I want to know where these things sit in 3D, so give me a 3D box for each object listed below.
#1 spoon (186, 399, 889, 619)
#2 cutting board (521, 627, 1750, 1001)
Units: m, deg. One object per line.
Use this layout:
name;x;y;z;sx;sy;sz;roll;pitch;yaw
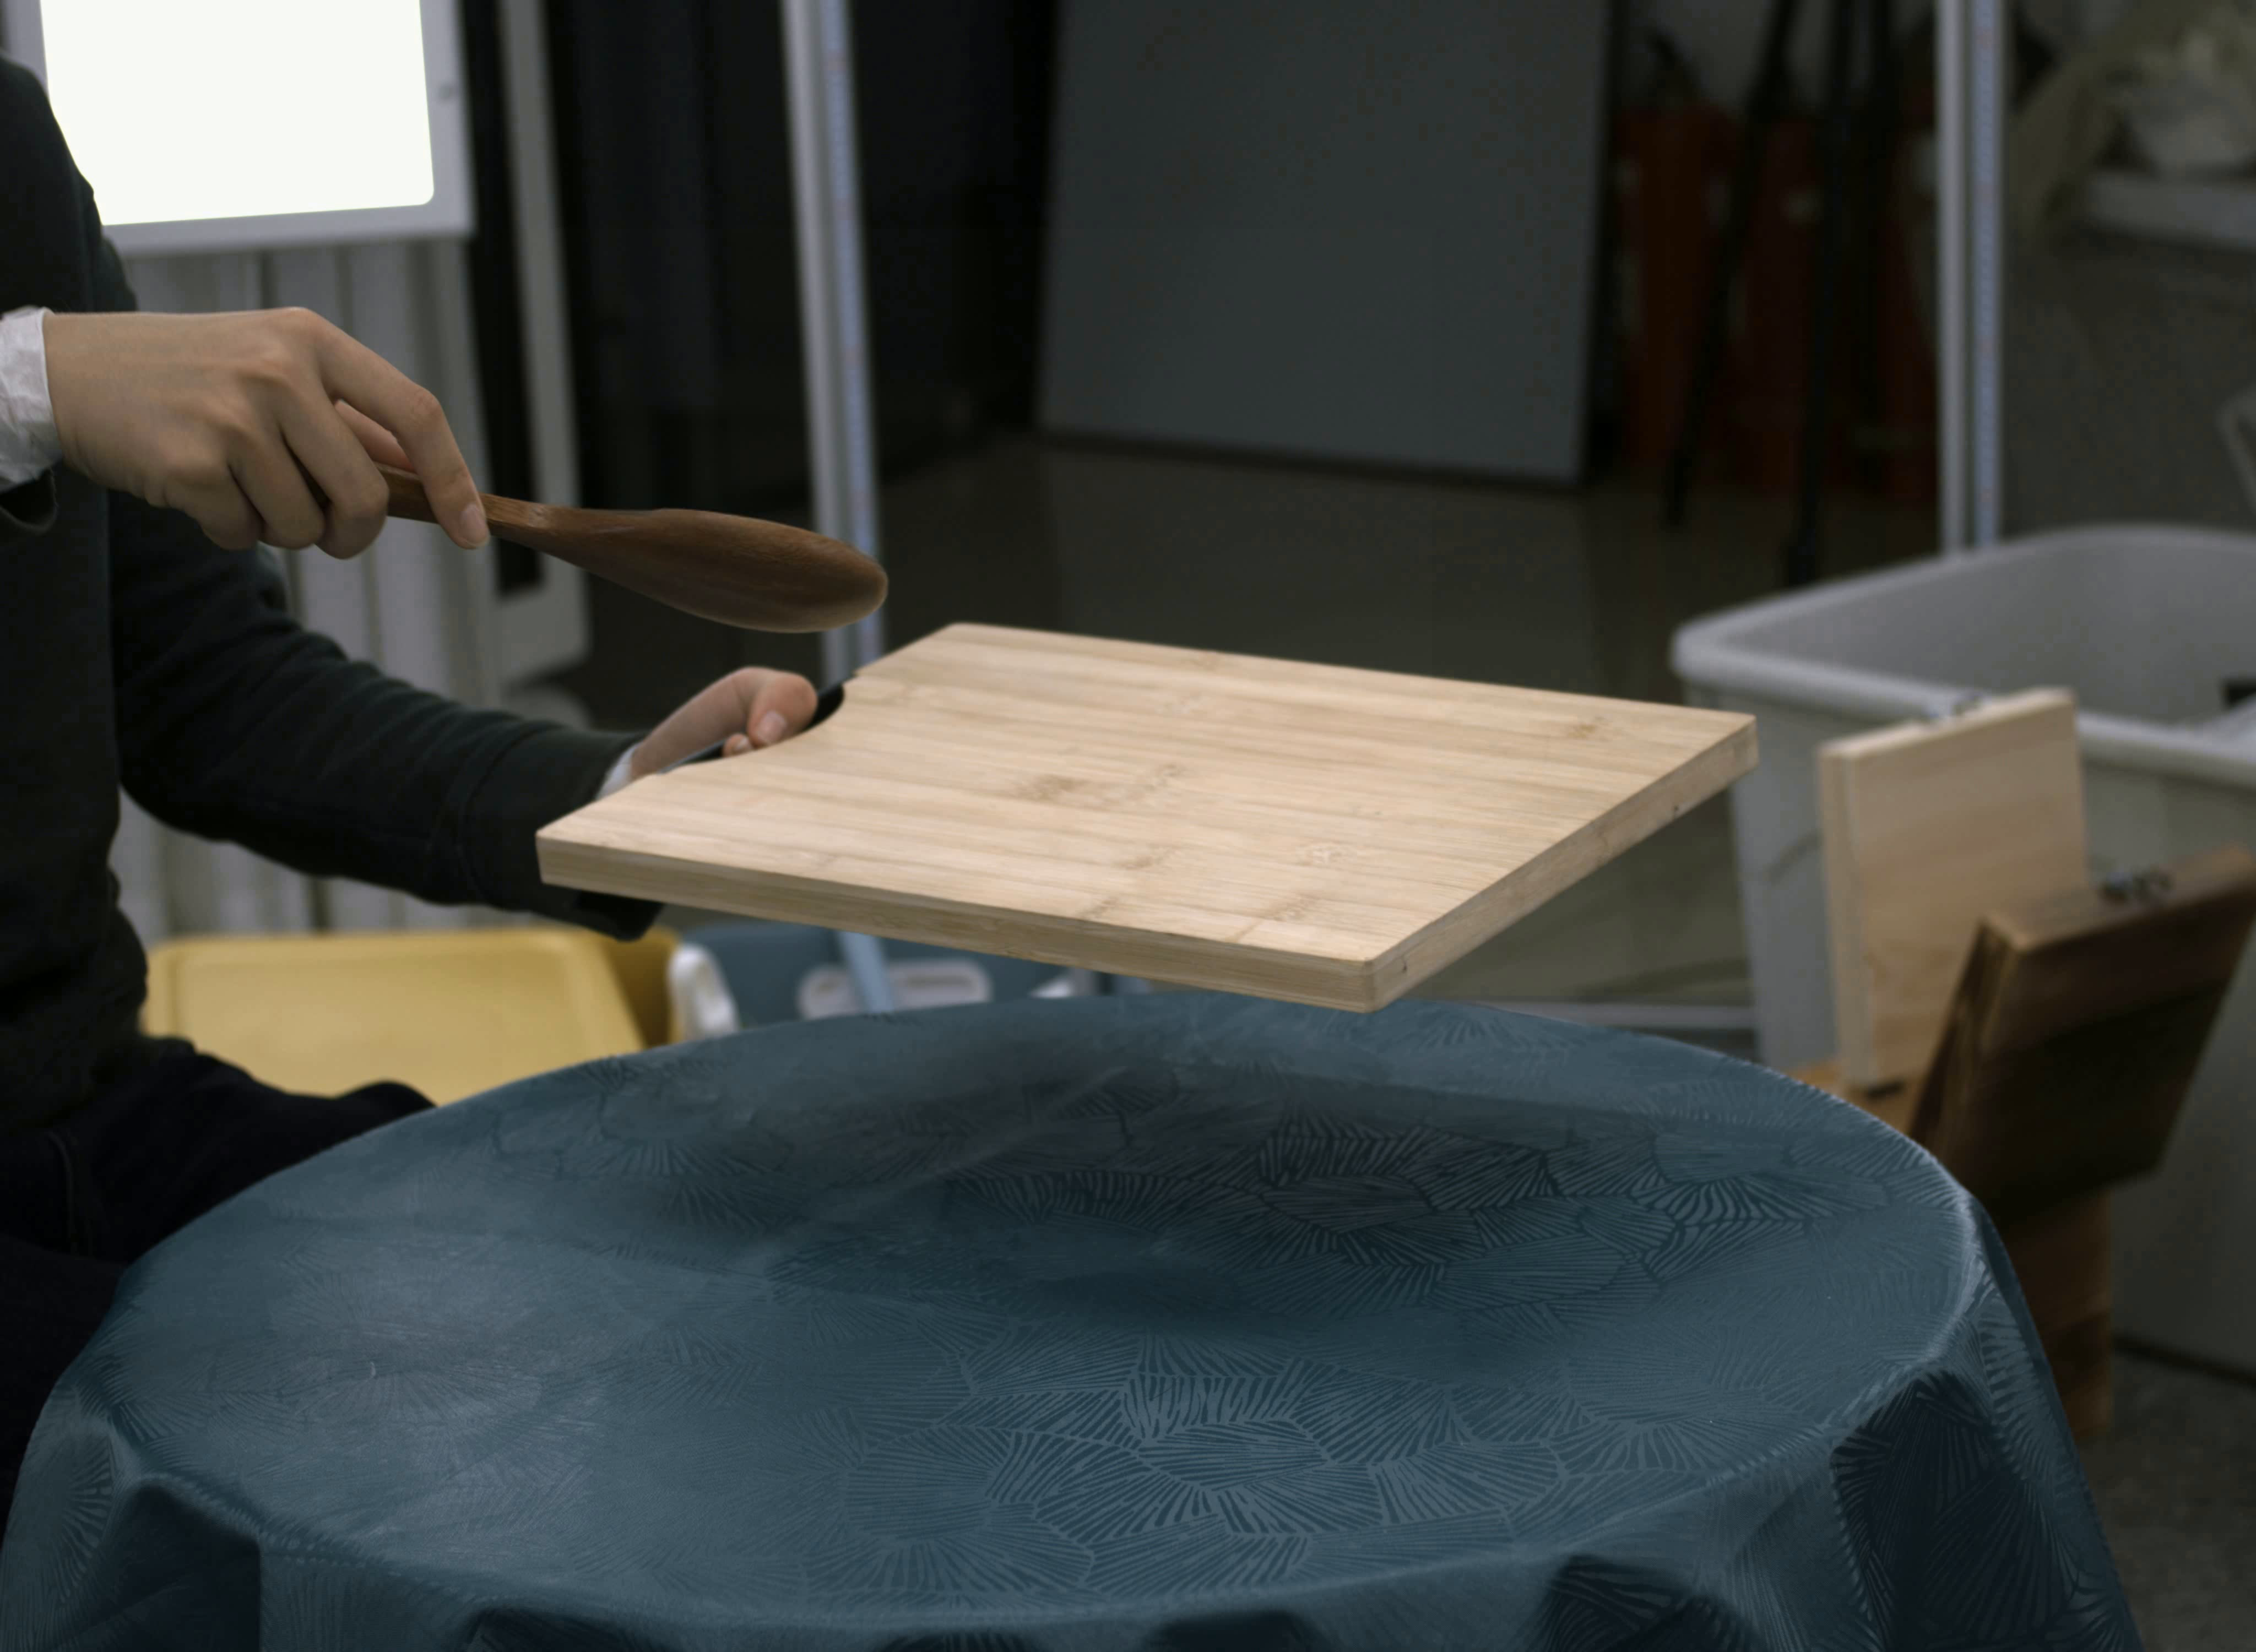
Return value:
spoon;-0.176;-0.093;1.624;0.212;0.017;0.076;14;-15;-10
cutting board;0.001;-0.009;1.800;0.351;0.024;0.246;7;22;36
